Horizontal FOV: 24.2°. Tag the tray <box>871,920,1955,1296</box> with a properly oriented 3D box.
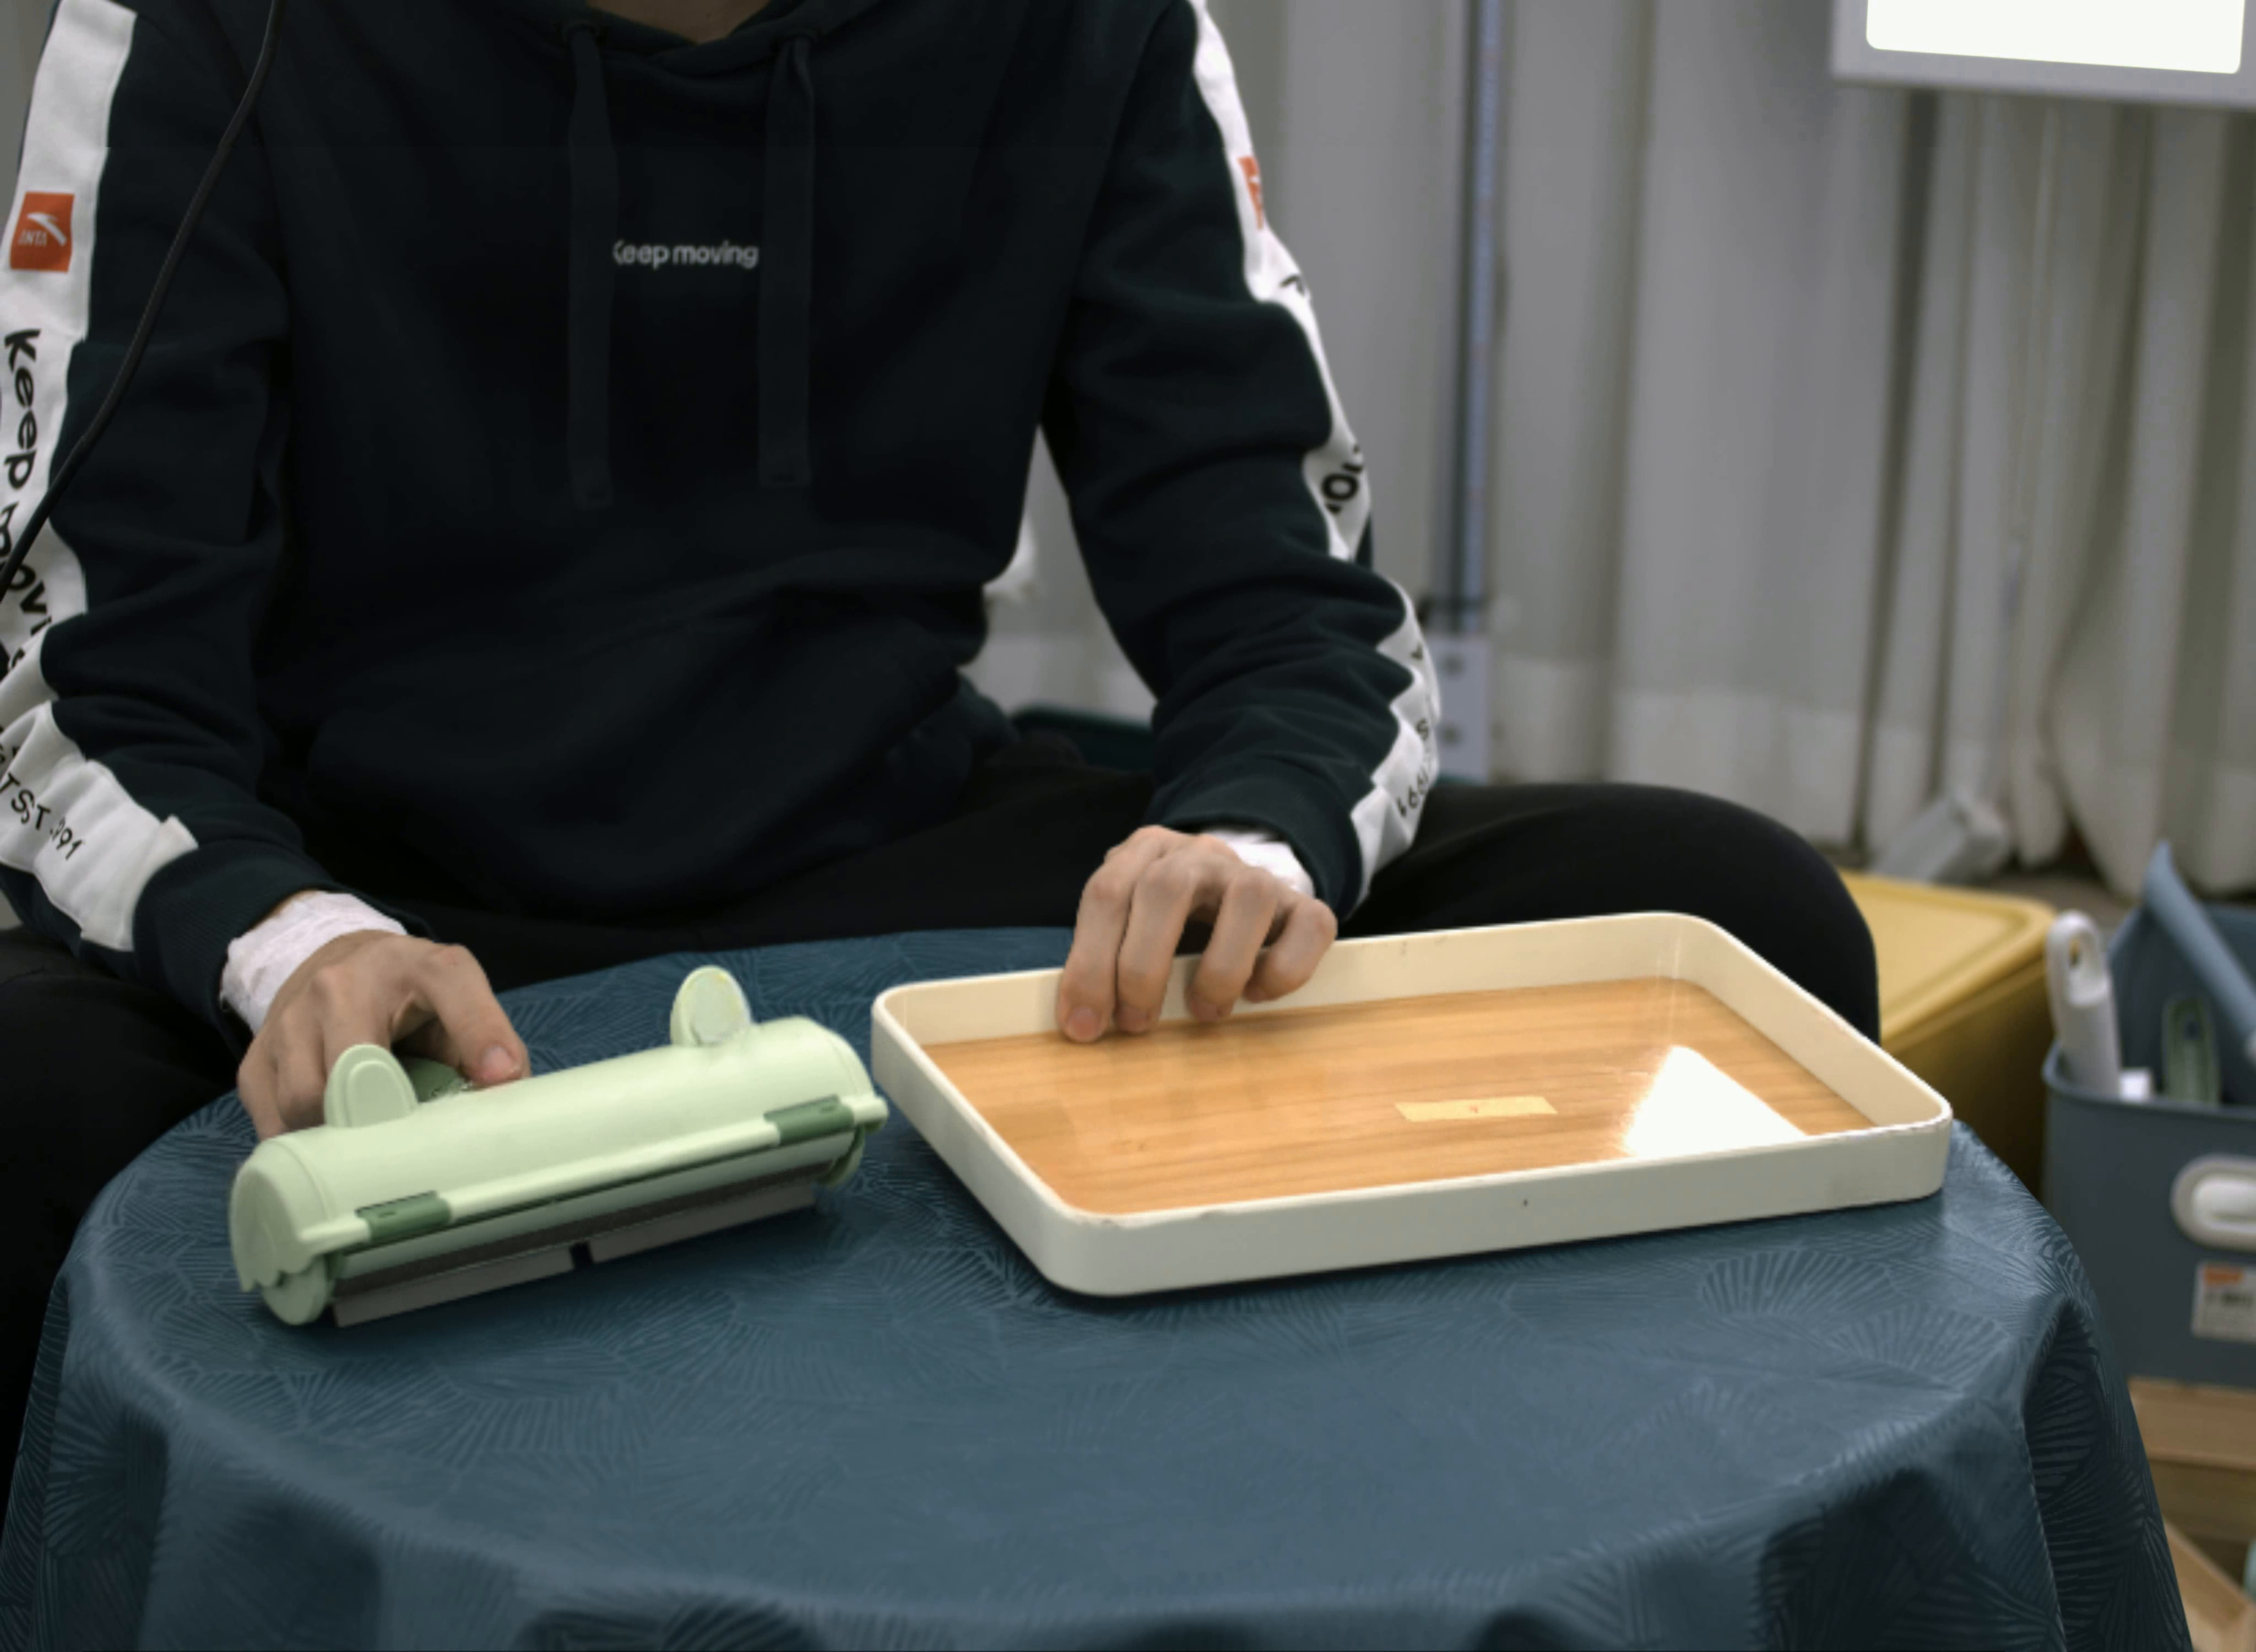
[{"bbox_3d":[0.086,0.084,1.642,0.301,0.027,0.189,-5,20,-22],"label":"tray"}]

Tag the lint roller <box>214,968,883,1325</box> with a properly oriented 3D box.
[{"bbox_3d":[-0.200,0.078,1.584,0.199,0.083,0.181,-12,23,-33],"label":"lint roller"}]
